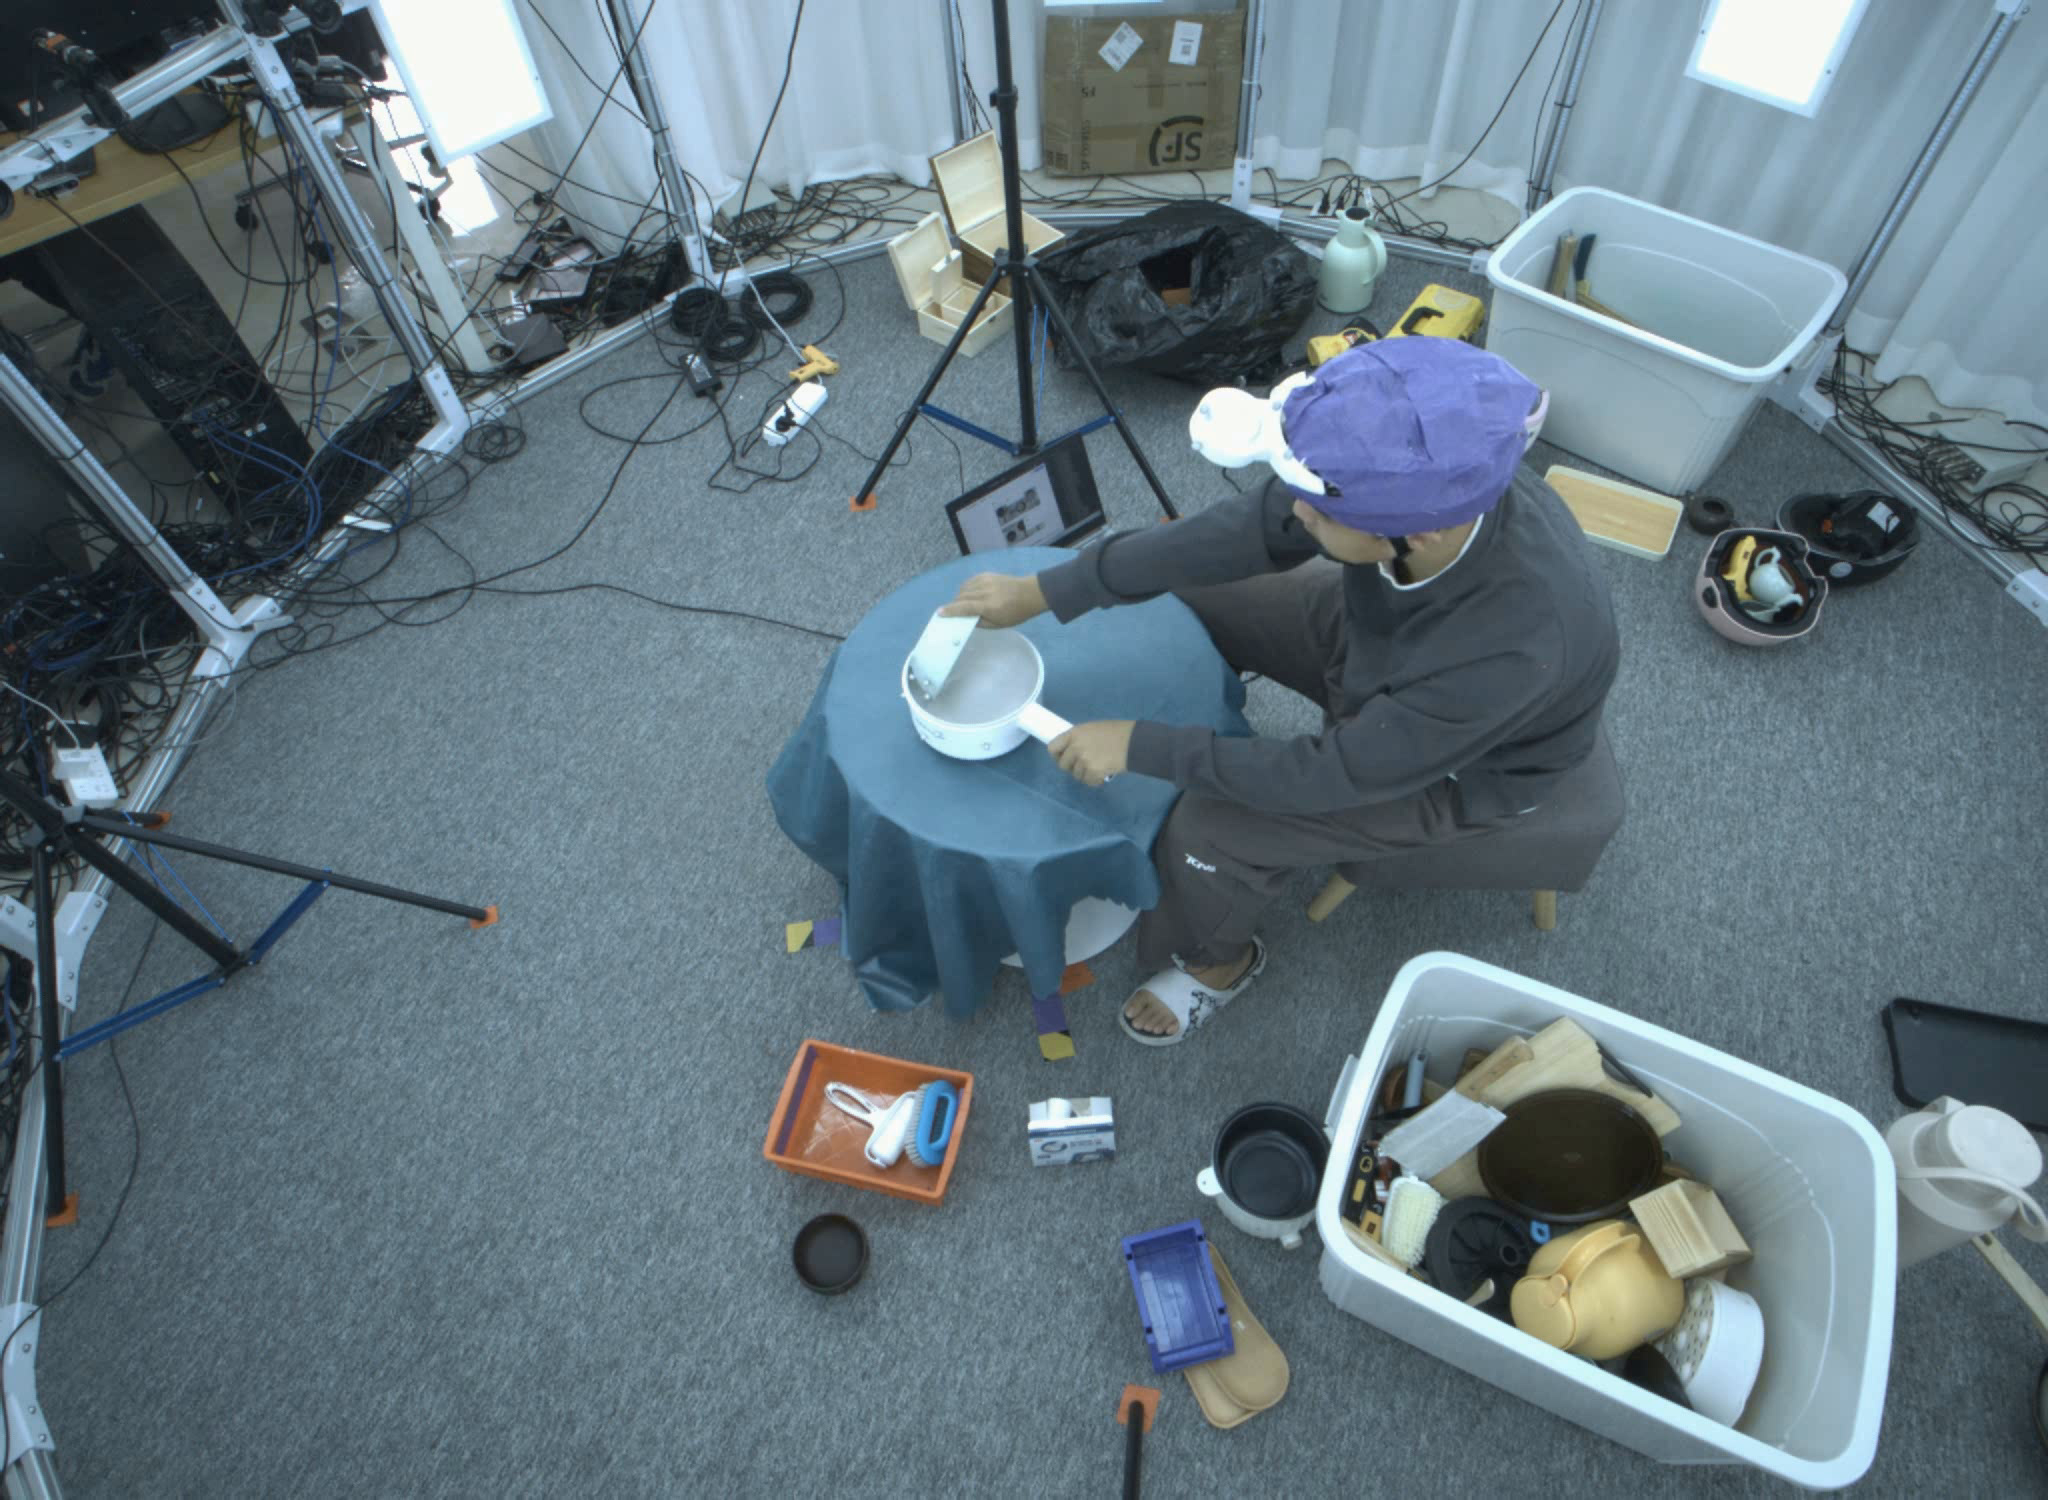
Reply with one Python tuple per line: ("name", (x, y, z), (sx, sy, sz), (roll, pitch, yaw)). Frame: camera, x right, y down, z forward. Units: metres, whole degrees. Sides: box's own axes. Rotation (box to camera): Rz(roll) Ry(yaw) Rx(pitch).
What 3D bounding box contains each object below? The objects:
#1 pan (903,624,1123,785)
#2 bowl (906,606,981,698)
("pan", (-0.012, -0.040, 1.763), (0.349, 0.103, 0.202), (33, 59, 20))
("bowl", (-0.120, -0.148, 1.726), (0.059, 0.150, 0.151), (30, 59, -5))
